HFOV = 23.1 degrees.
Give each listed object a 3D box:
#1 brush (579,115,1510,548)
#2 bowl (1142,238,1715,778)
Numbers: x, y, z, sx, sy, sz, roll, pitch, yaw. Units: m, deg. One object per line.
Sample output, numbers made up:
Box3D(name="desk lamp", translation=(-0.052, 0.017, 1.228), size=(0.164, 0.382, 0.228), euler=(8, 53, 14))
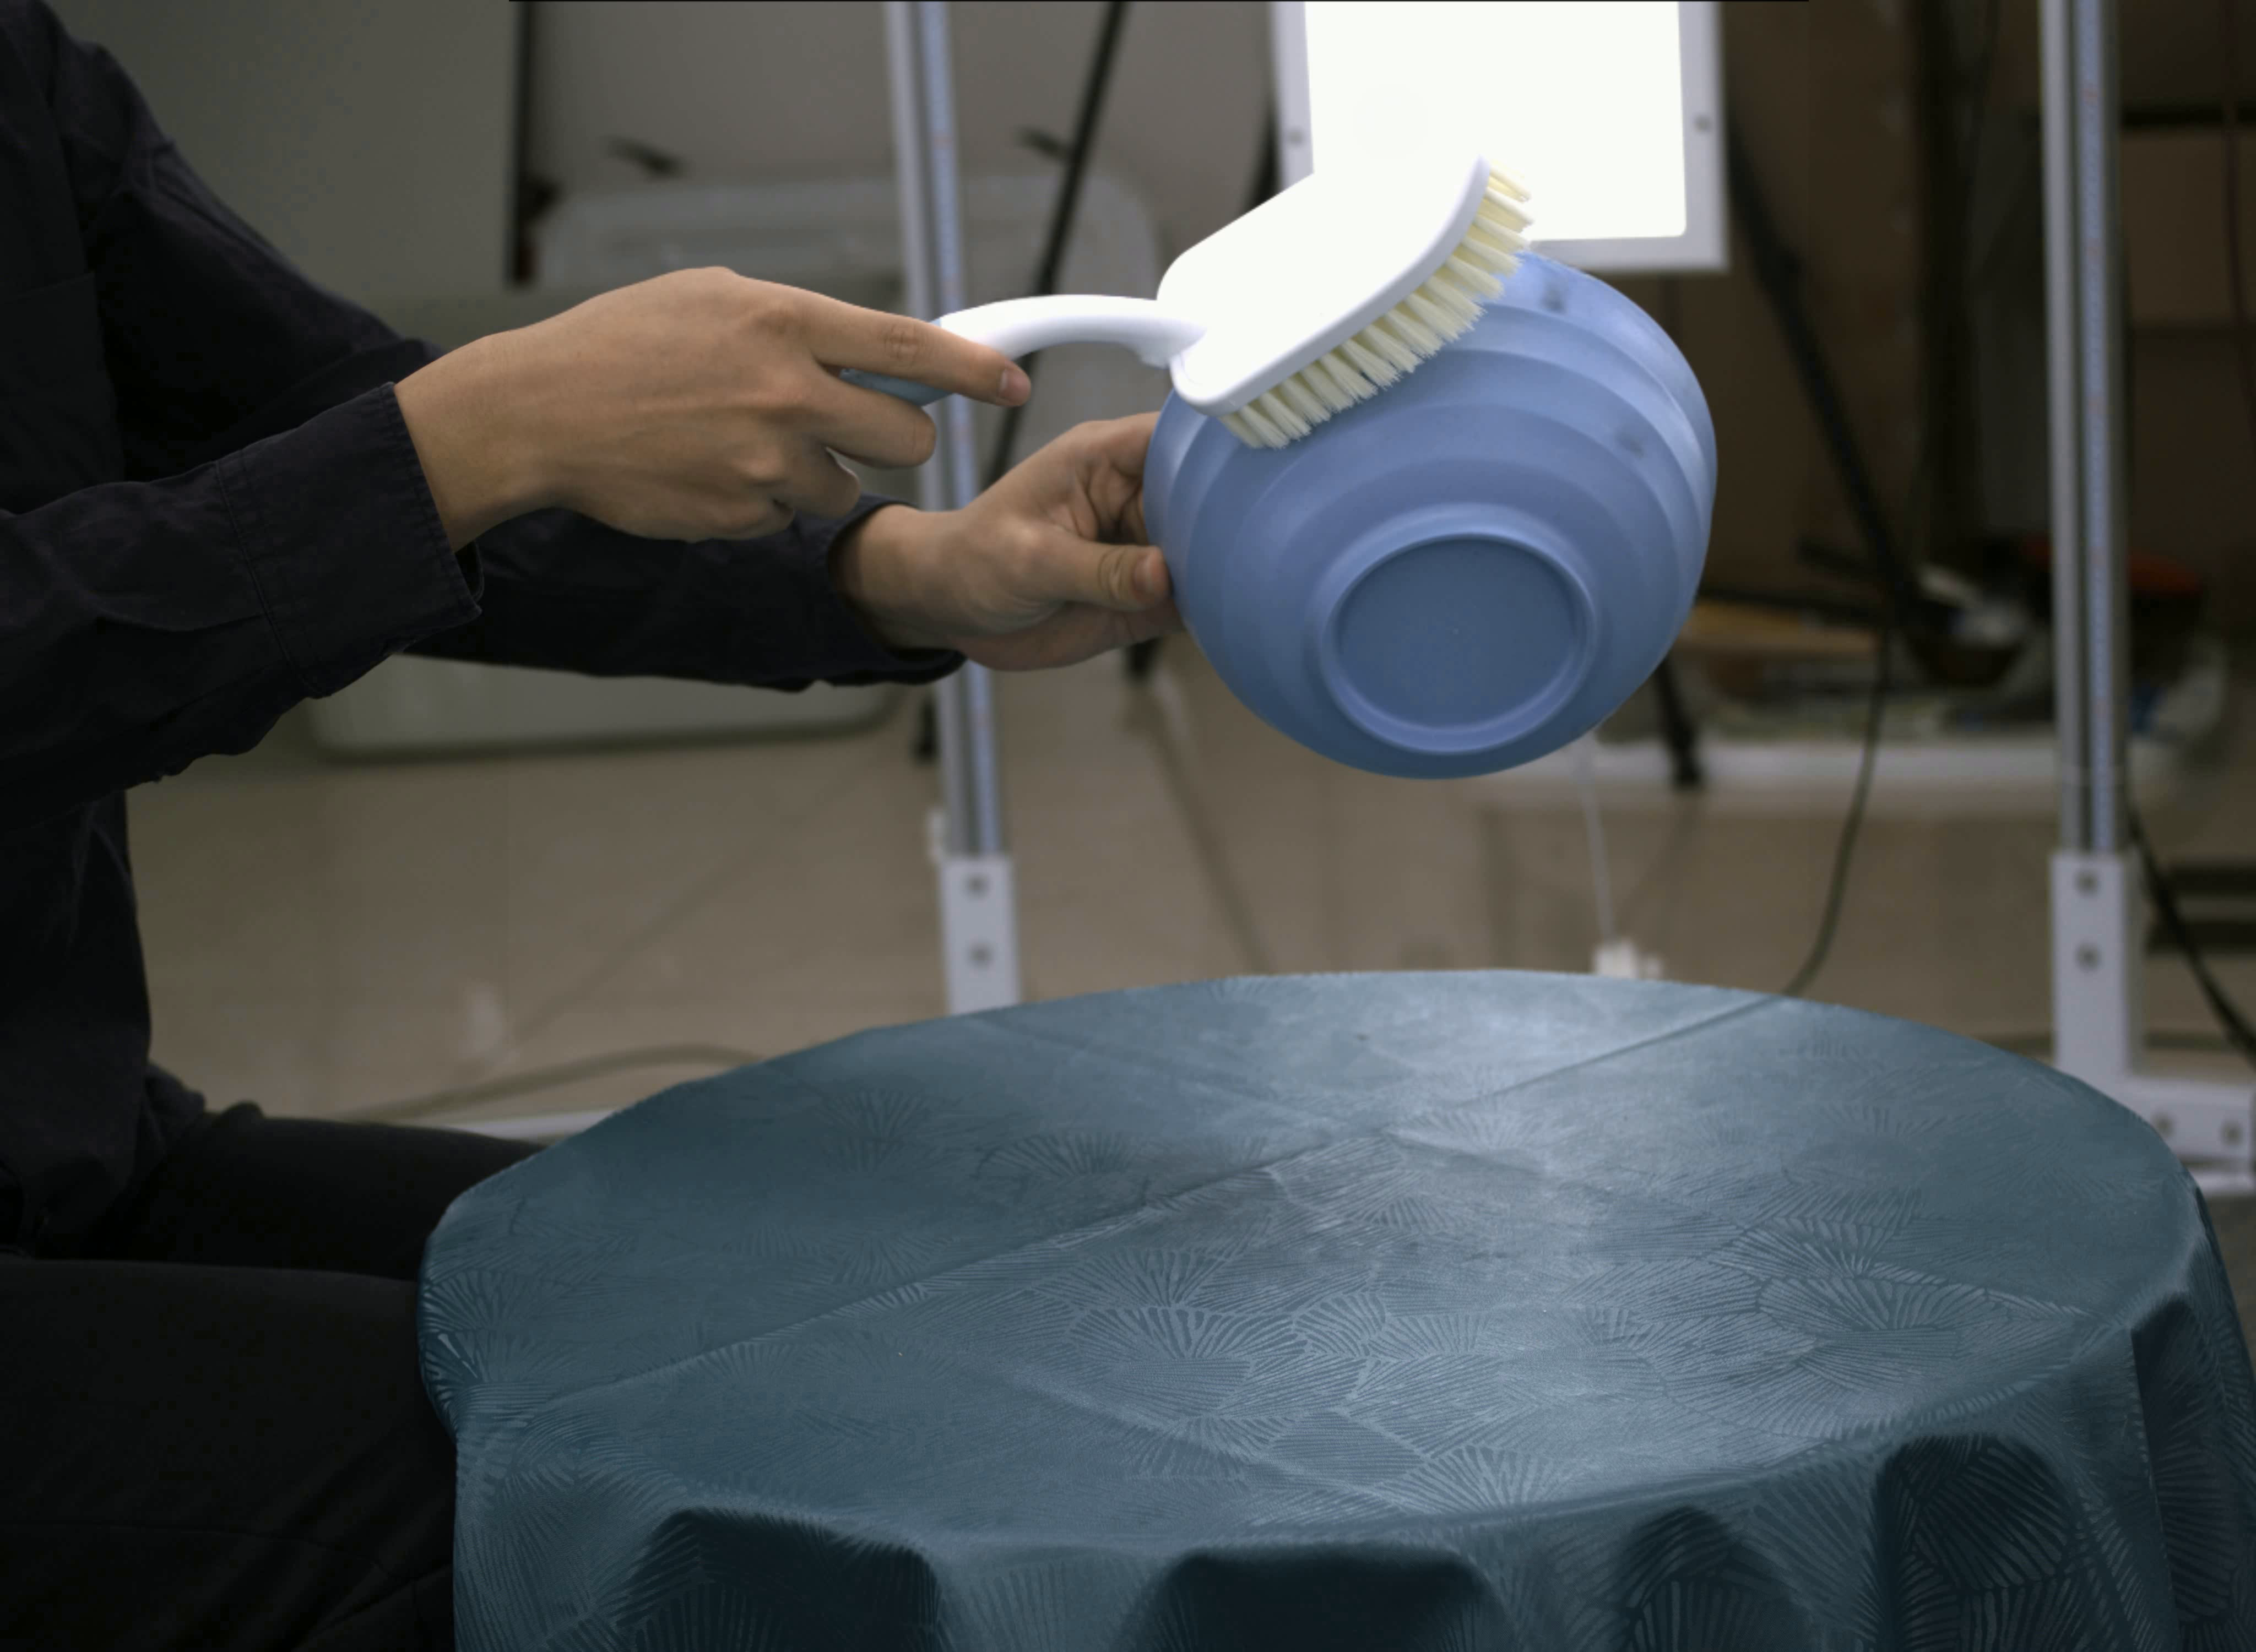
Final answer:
Box3D(name="brush", translation=(-0.024, -0.146, 1.797), size=(0.328, 0.084, 0.082), euler=(-22, 15, 15))
Box3D(name="bowl", translation=(0.106, -0.089, 1.828), size=(0.196, 0.197, 0.095), euler=(-4, 37, 0))
